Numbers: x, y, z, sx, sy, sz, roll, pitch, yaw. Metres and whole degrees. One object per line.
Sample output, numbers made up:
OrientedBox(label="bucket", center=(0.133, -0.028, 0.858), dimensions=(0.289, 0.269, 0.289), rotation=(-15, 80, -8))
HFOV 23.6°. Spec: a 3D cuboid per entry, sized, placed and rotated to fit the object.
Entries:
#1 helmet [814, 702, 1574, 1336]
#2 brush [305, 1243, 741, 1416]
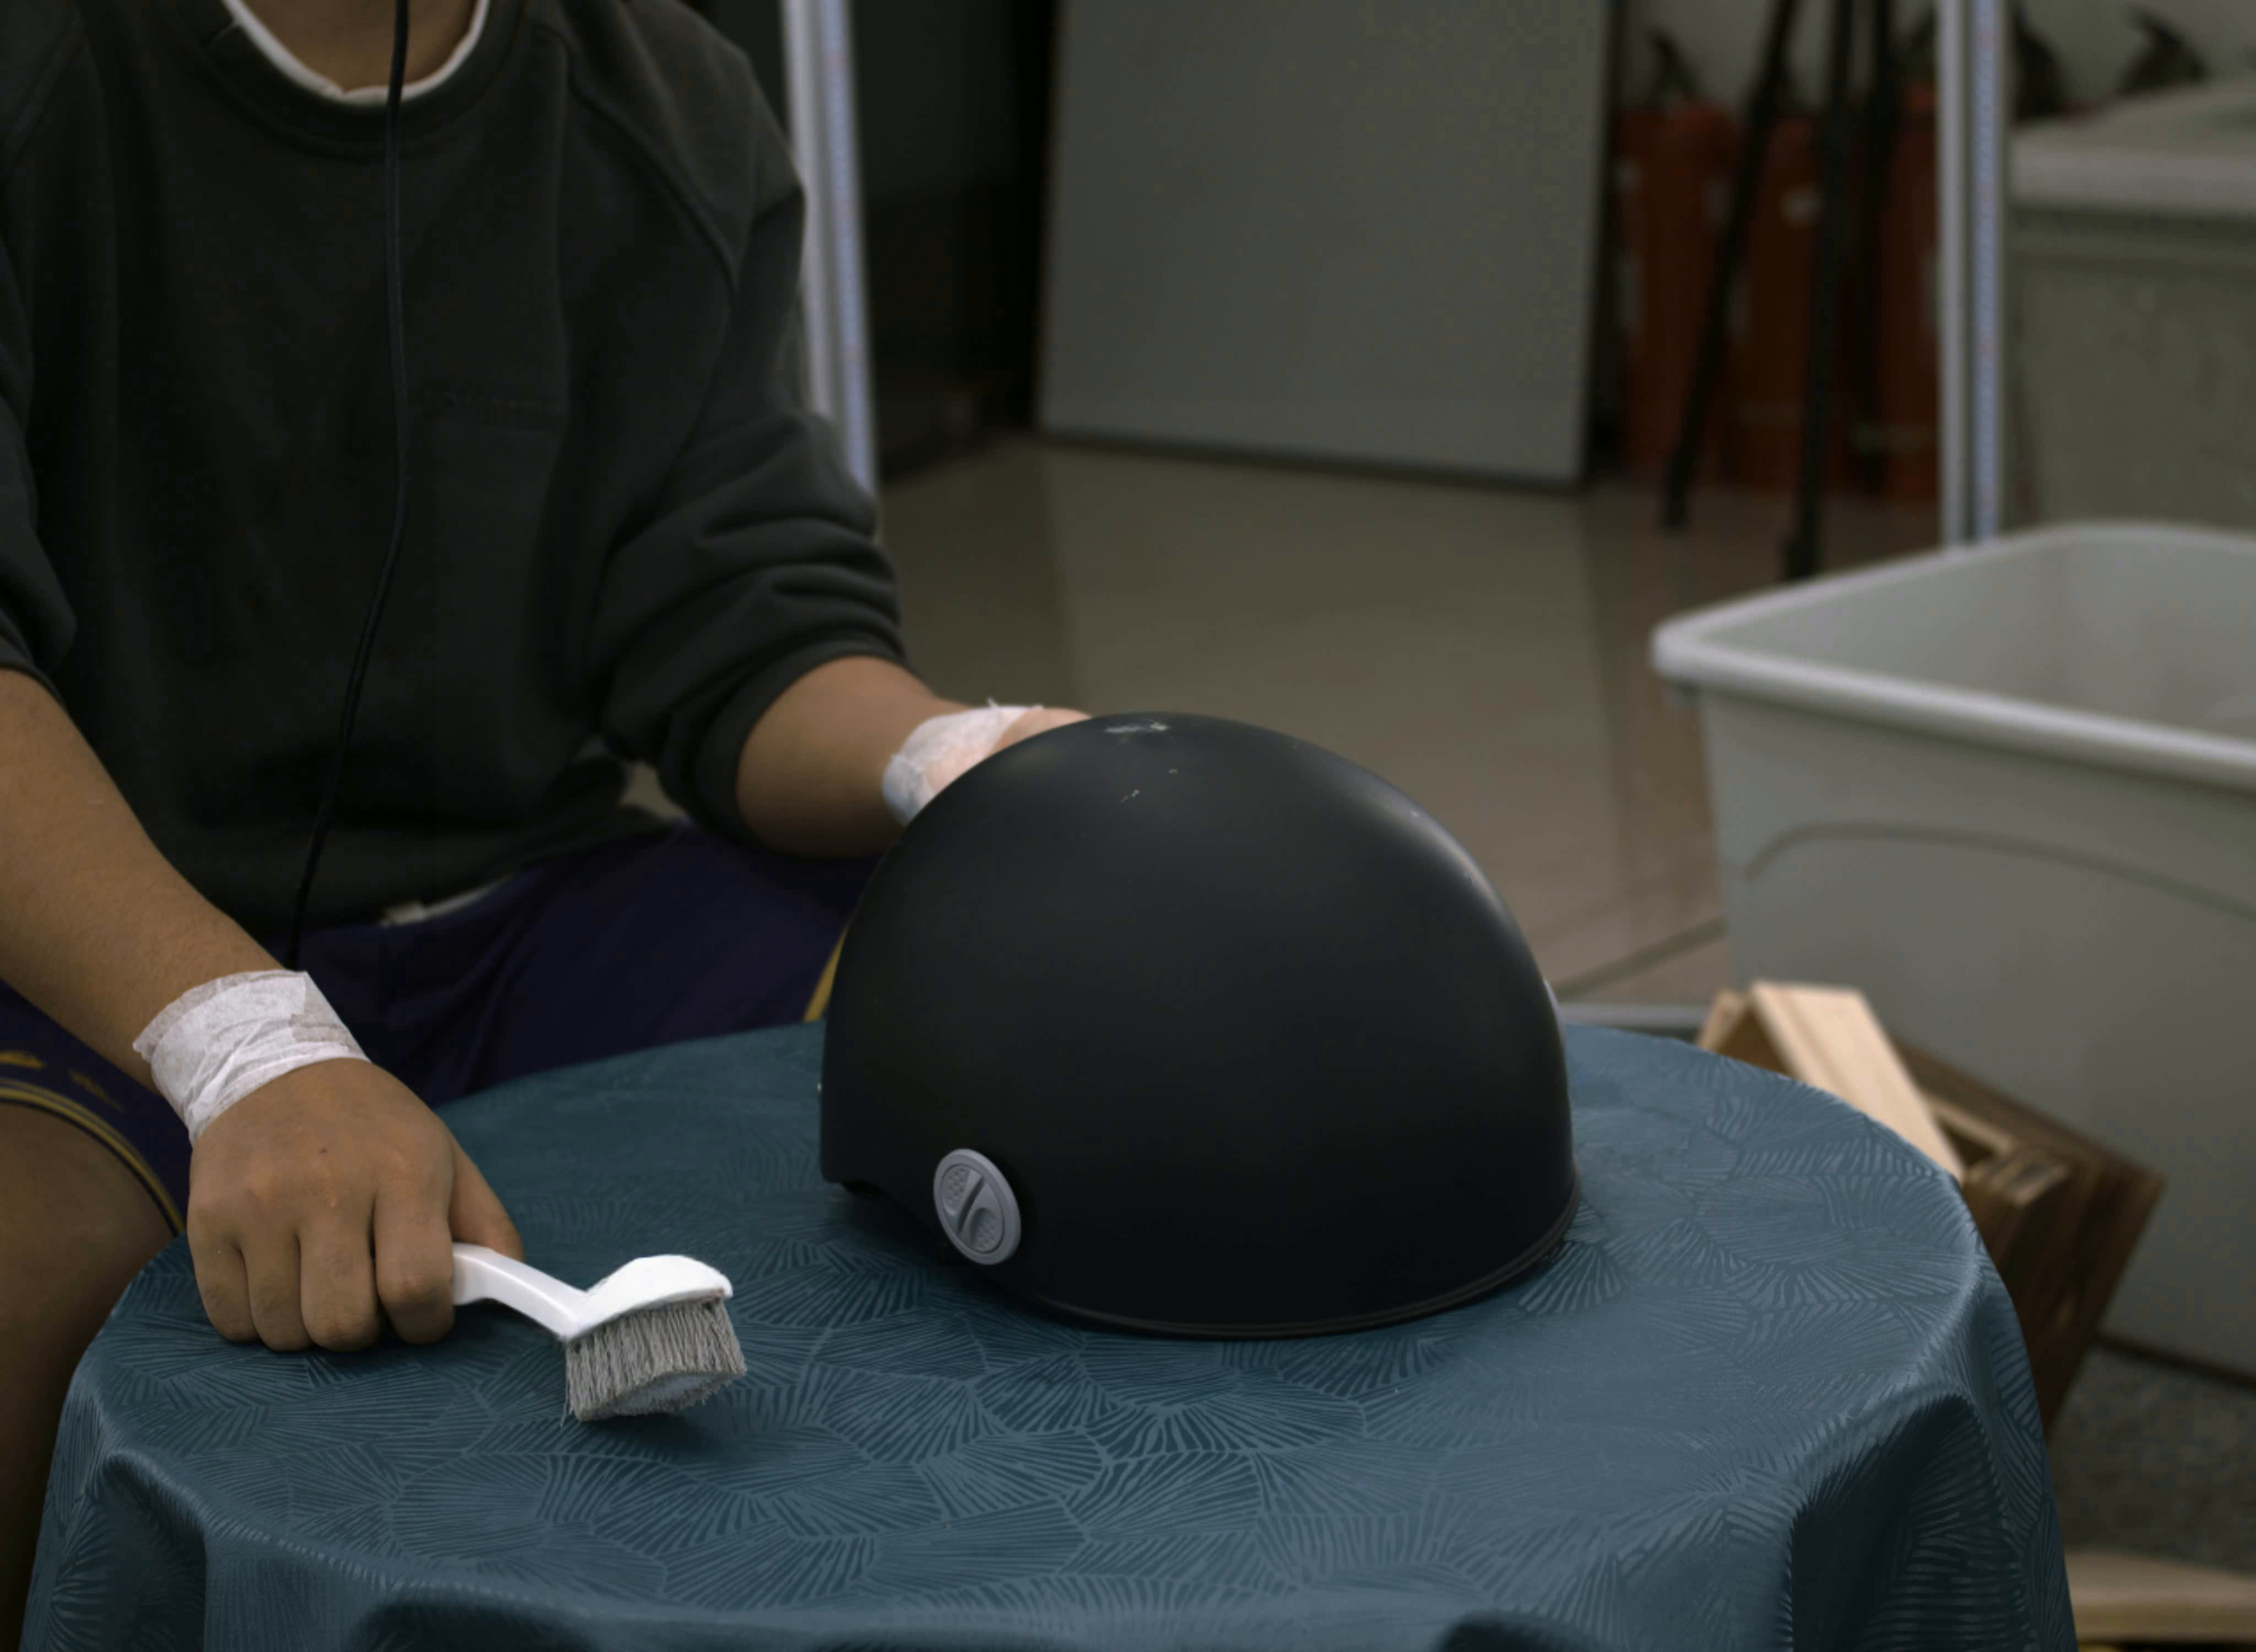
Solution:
OrientedBox(label="helmet", center=(0.017, 0.050, 1.721), dimensions=(0.225, 0.168, 0.276), rotation=(-15, 19, -27))
OrientedBox(label="brush", center=(-0.189, 0.153, 1.645), dimensions=(0.033, 0.051, 0.246), rotation=(3, -6, -34))
